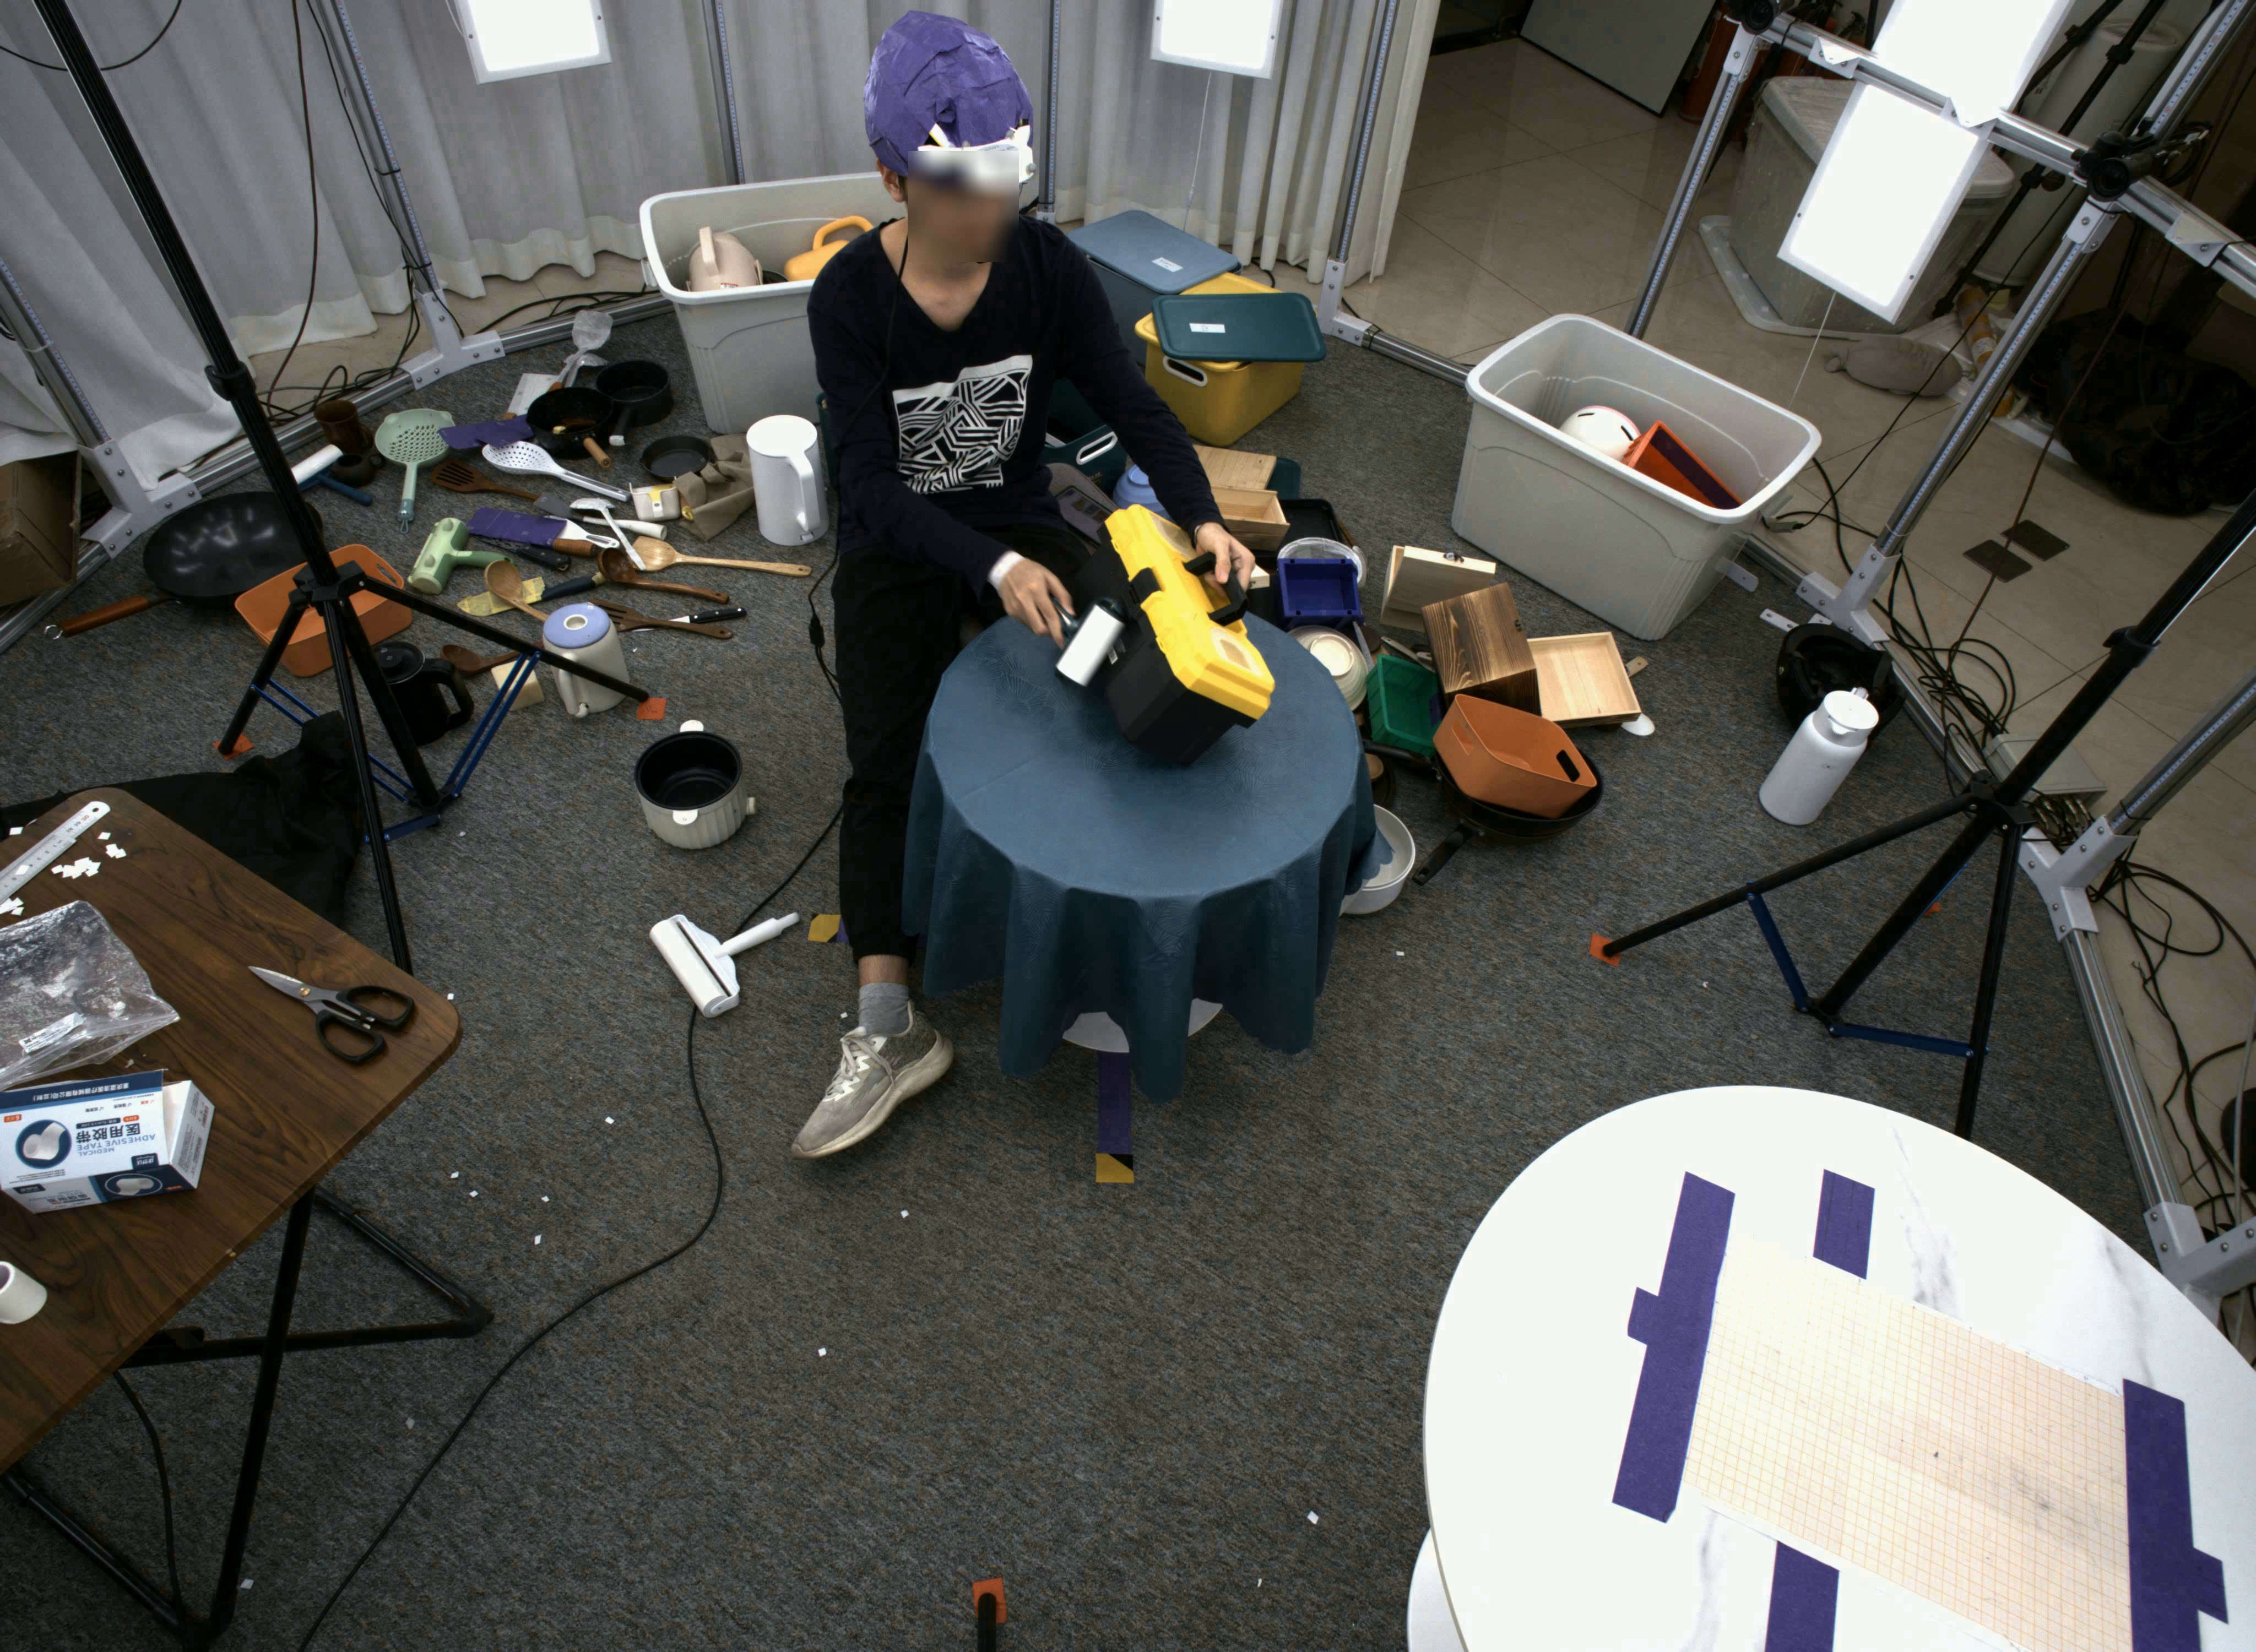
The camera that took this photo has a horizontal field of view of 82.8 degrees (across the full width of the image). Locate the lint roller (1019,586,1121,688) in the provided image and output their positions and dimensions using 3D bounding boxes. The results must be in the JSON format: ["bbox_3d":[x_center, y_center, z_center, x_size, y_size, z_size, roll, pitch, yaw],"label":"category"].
[{"bbox_3d":[-0.100,-0.285,1.766,0.183,0.133,0.048,40,12,29],"label":"lint roller"}]

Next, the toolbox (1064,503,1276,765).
[{"bbox_3d":[0.047,-0.264,1.762,0.179,0.171,0.360,20,37,-40],"label":"toolbox"}]
